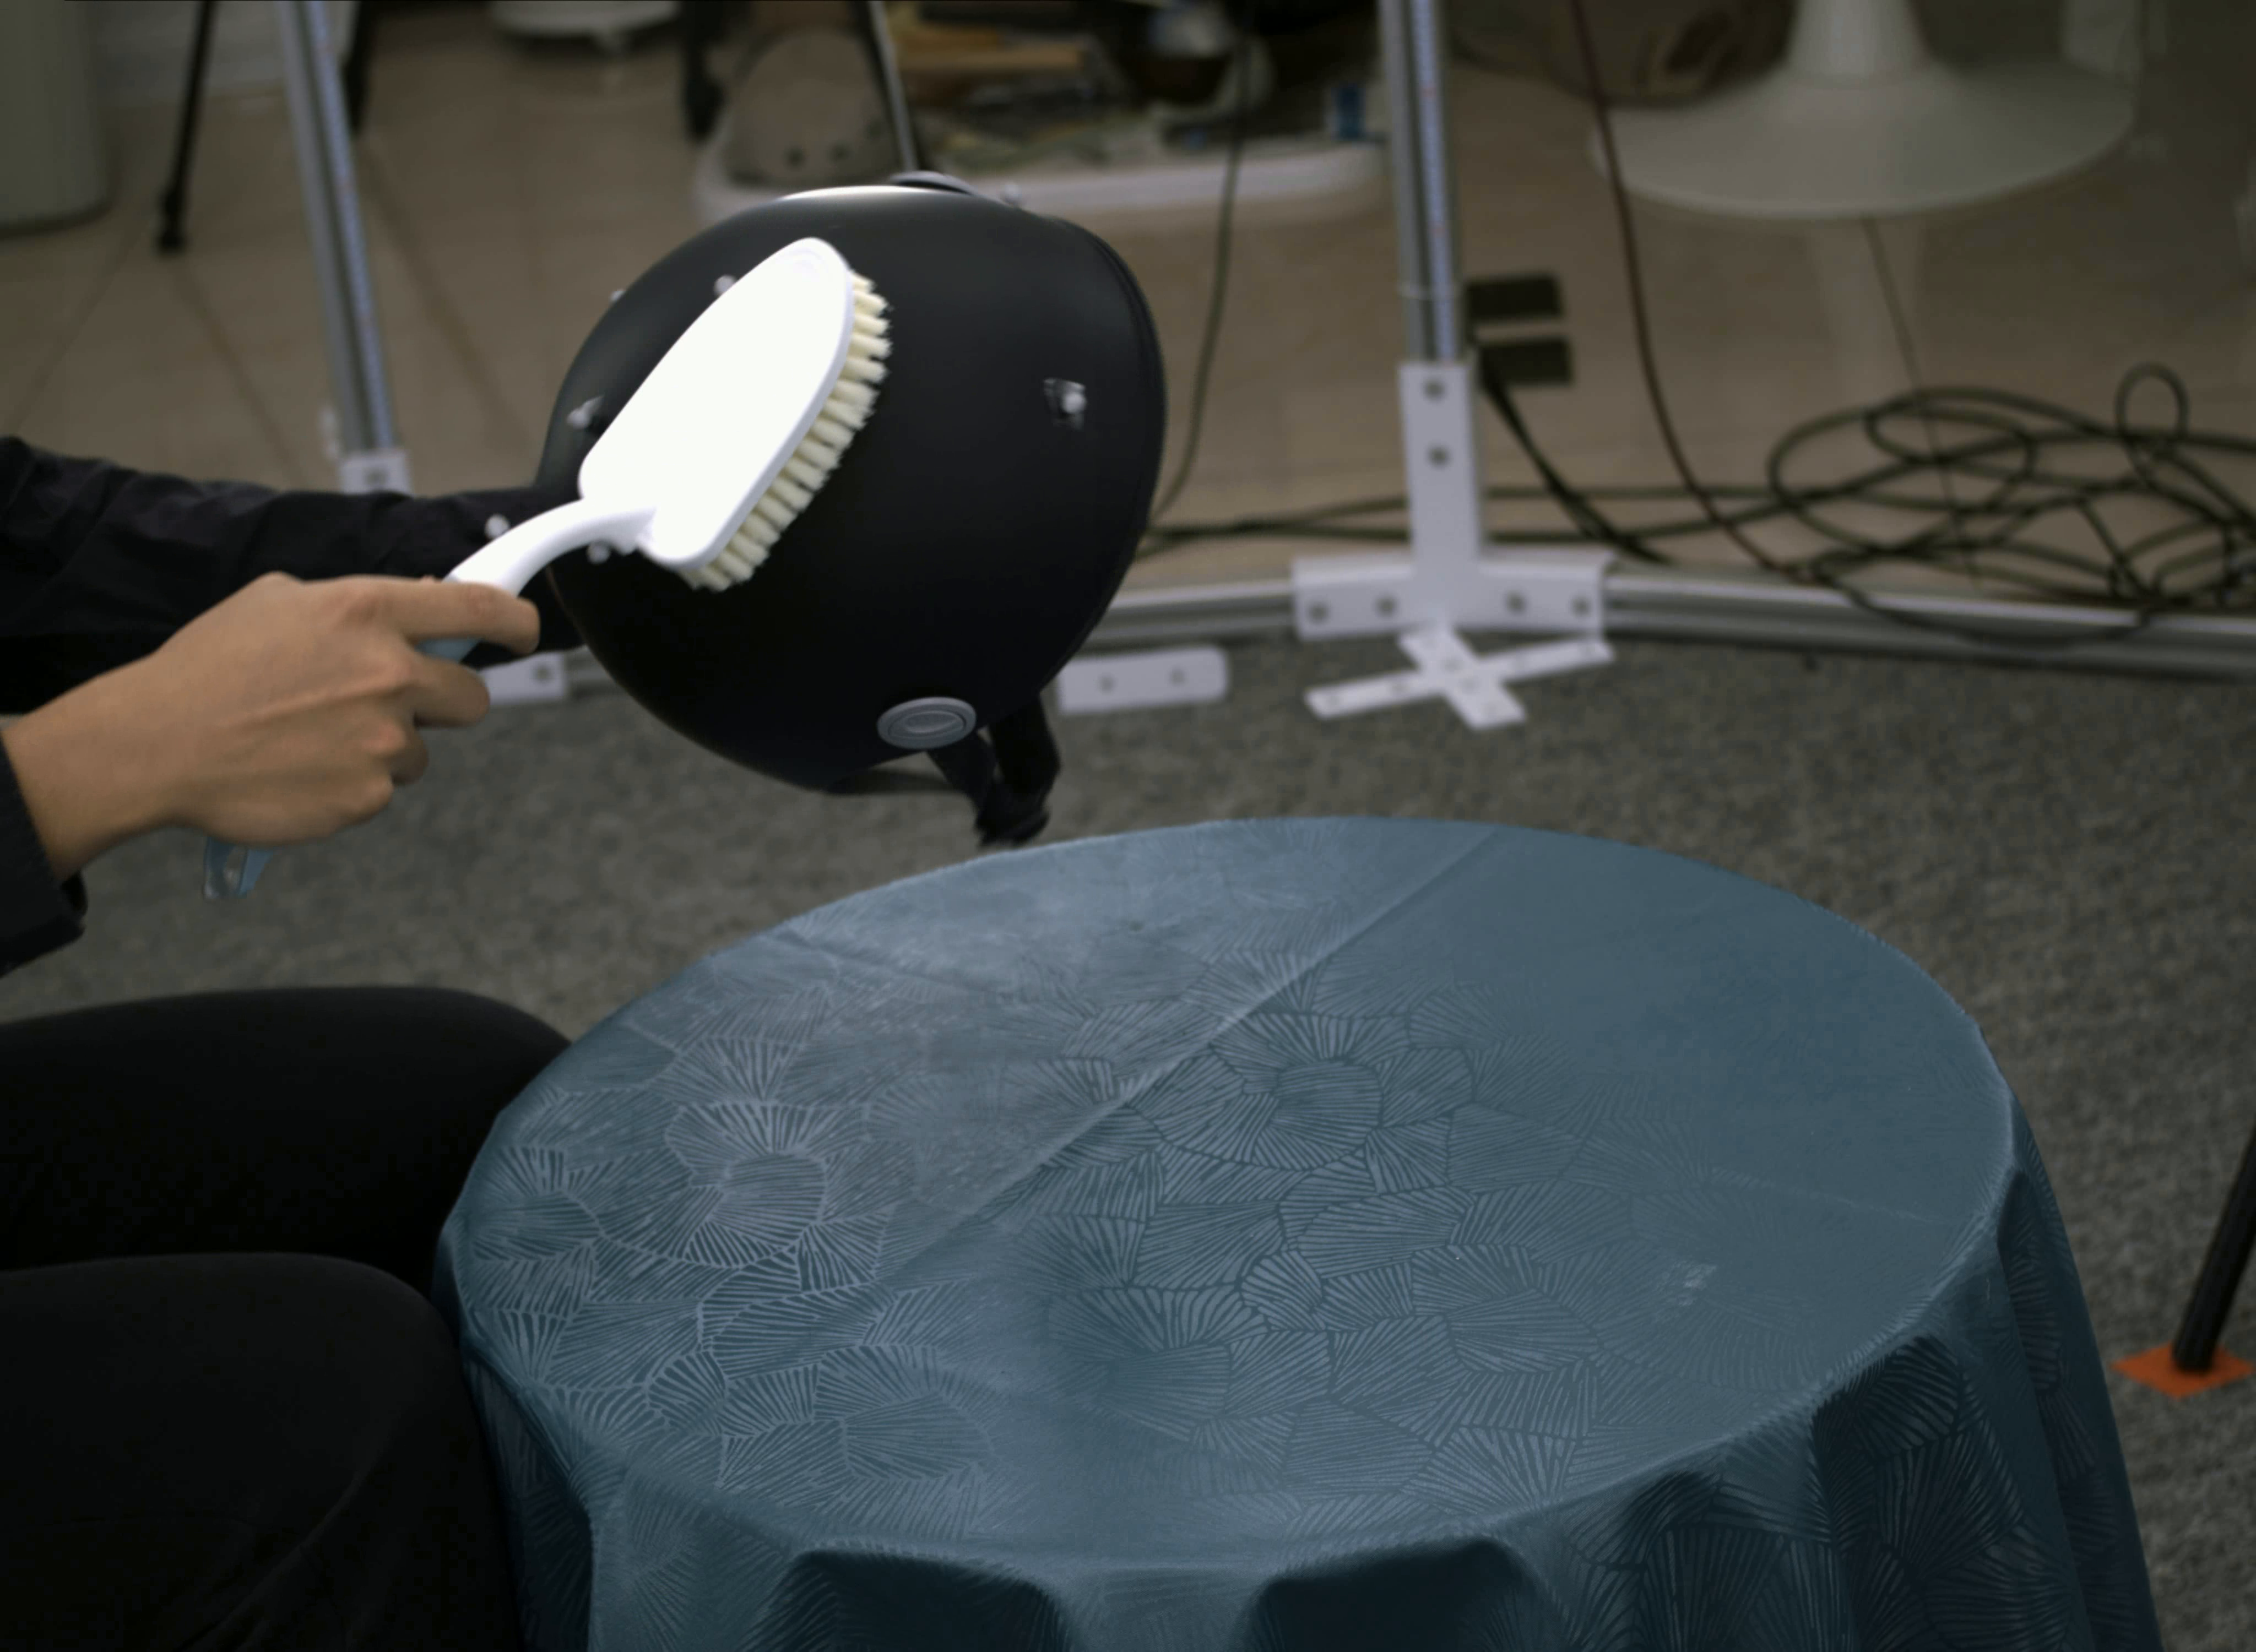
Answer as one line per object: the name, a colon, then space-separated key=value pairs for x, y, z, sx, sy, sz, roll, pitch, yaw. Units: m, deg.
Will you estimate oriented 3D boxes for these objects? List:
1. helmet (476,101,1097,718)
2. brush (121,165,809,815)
helmet: x=-0.151 y=-0.169 z=2.174 sx=0.167 sy=0.228 sz=0.274 roll=13 pitch=-19 yaw=-37
brush: x=-0.235 y=-0.111 z=2.045 sx=0.324 sy=0.085 sz=0.082 roll=-46 pitch=21 yaw=-10
